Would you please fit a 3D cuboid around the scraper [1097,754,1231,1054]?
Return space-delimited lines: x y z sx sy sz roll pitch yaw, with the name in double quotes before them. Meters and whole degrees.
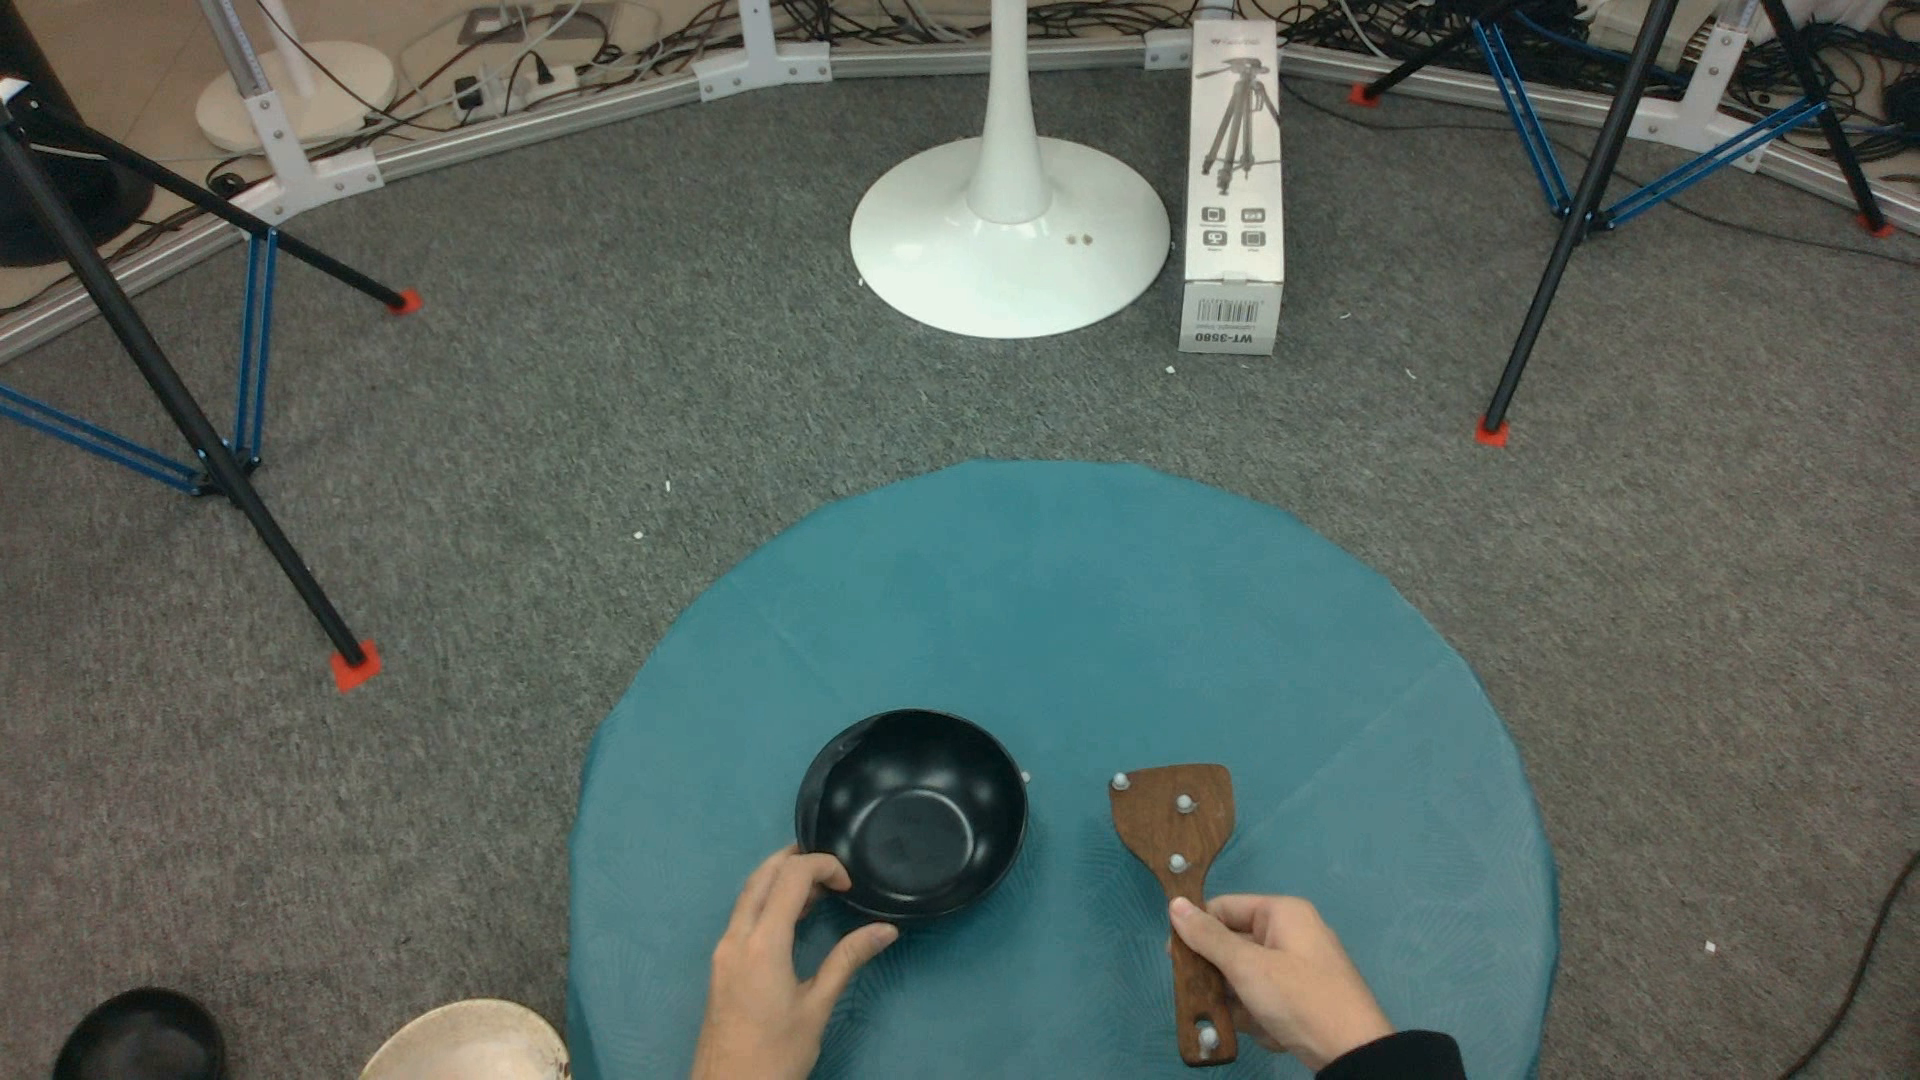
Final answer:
"scraper" 0.117 0.187 0.737 0.076 0.011 0.212 -7 30 6

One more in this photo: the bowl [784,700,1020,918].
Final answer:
"bowl" -0.035 0.167 0.827 0.140 0.049 0.140 2 51 -2
